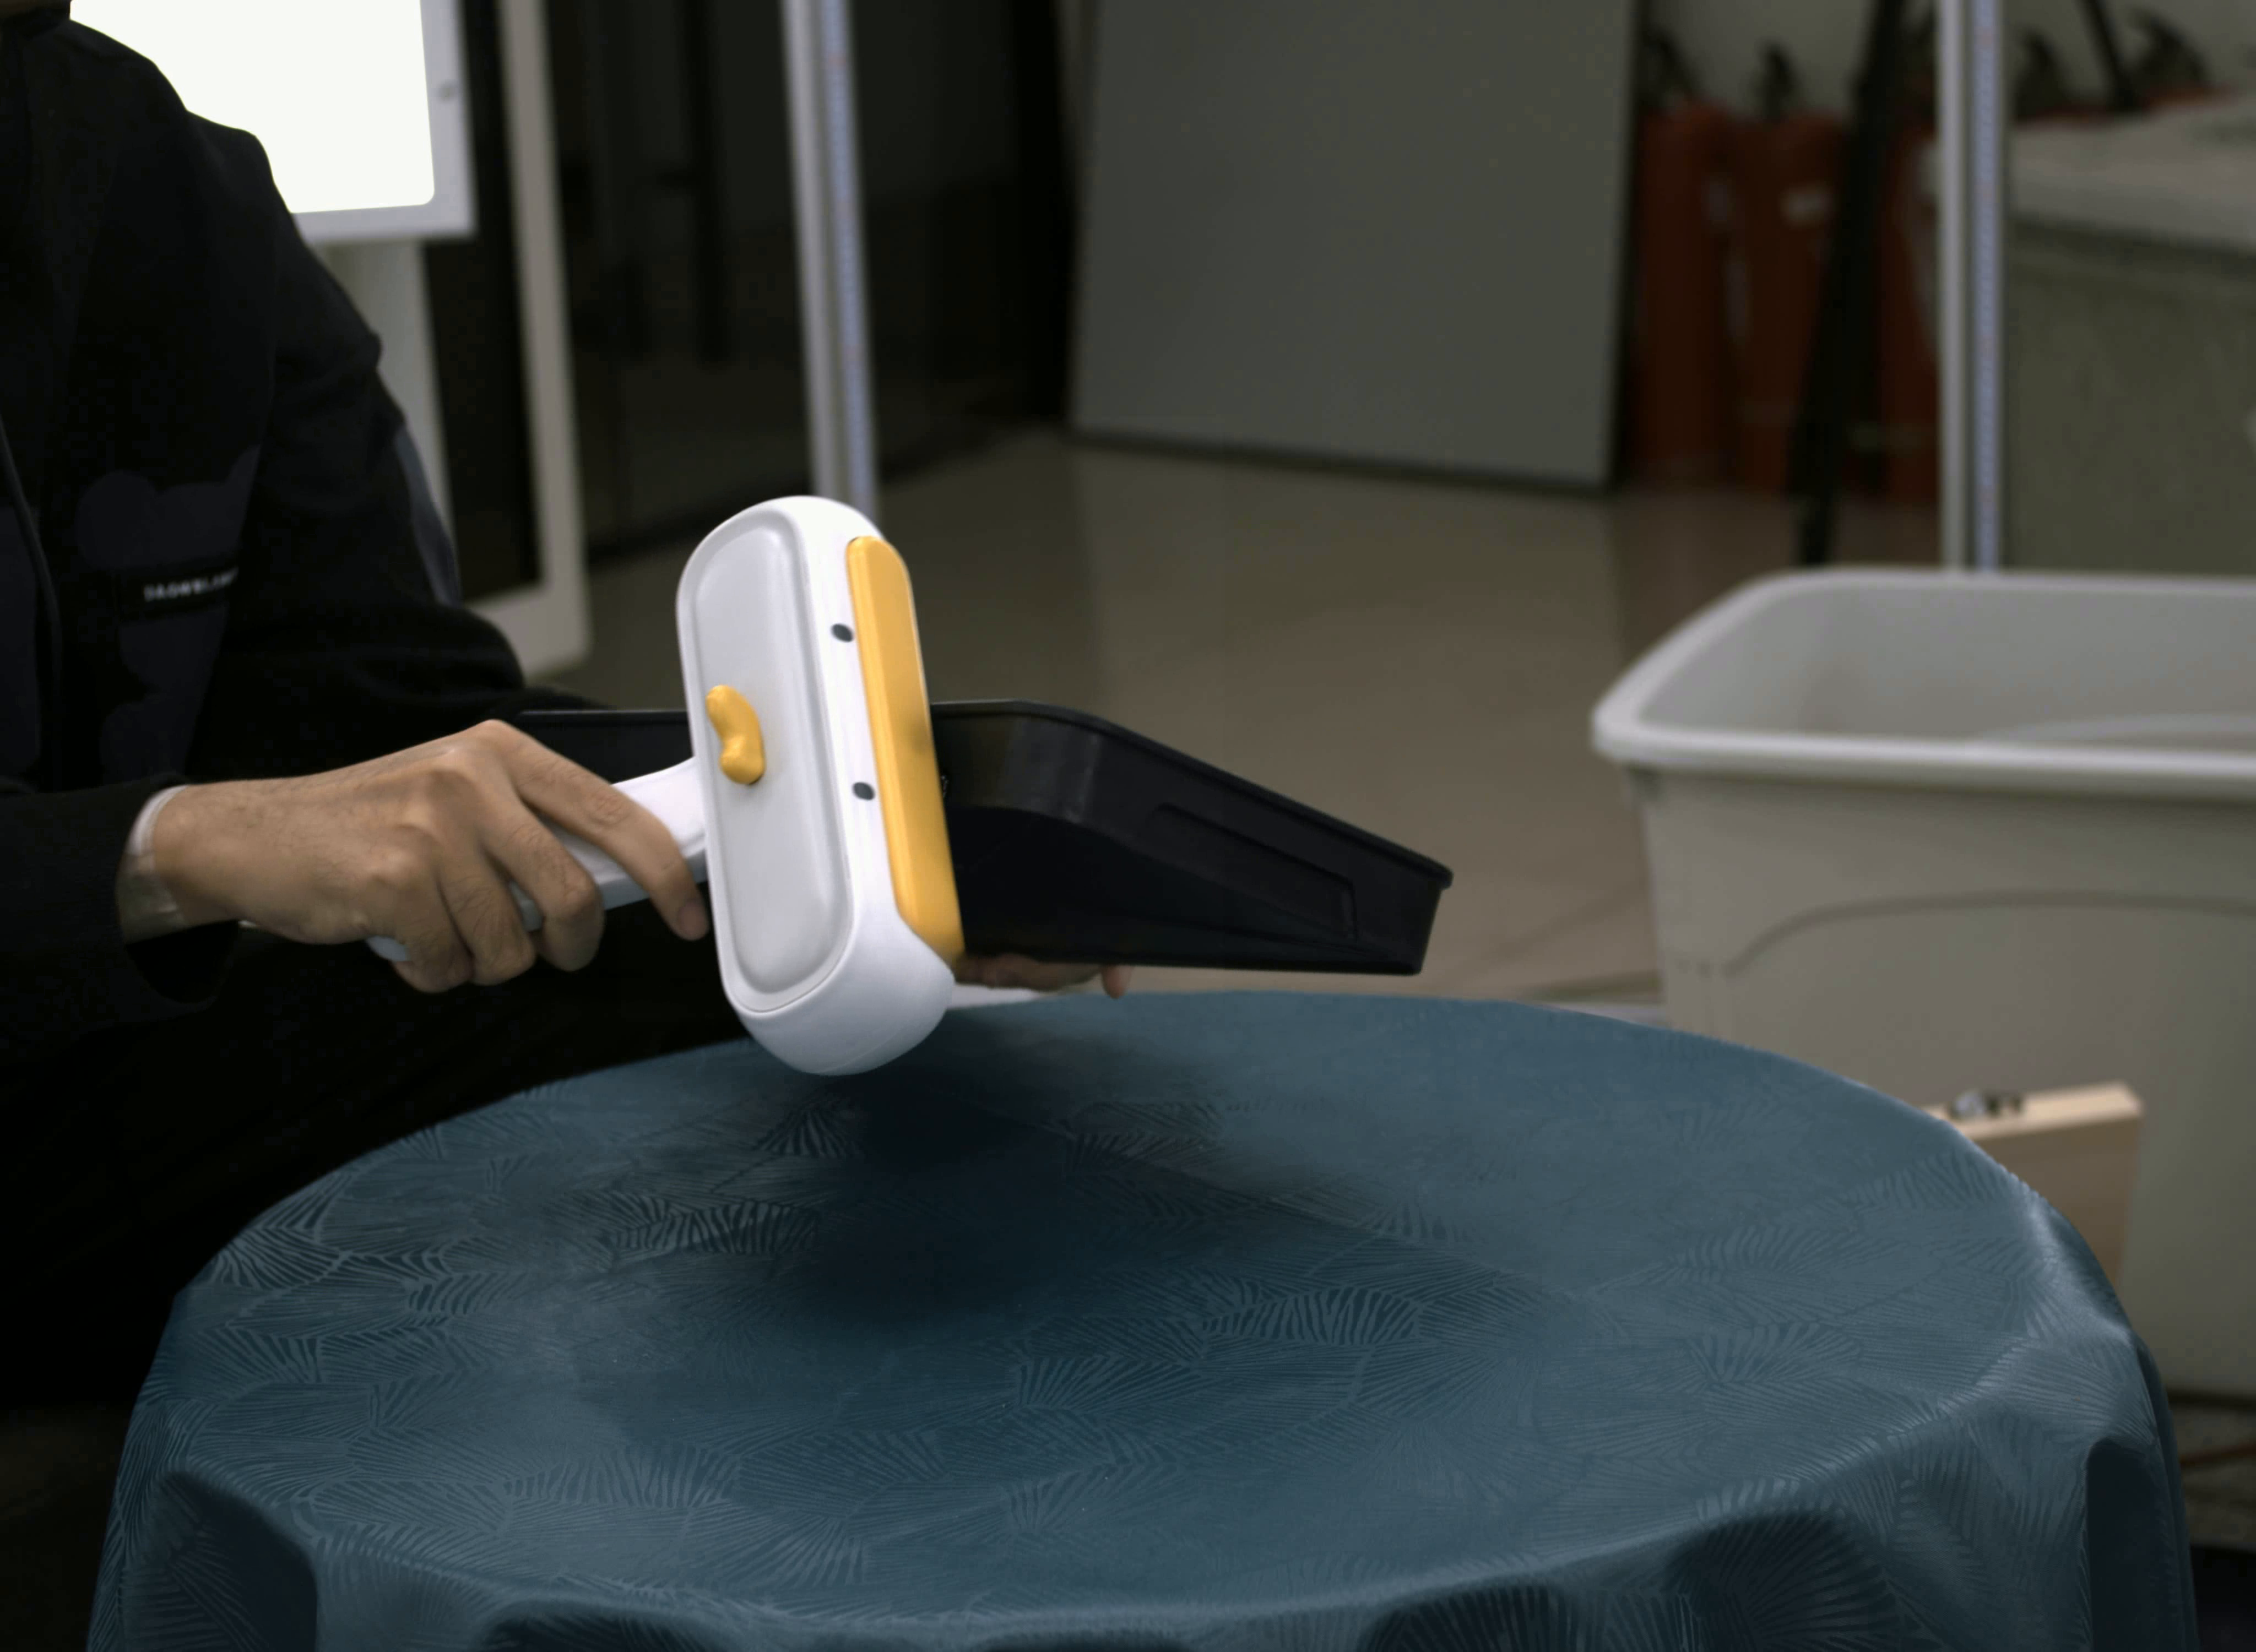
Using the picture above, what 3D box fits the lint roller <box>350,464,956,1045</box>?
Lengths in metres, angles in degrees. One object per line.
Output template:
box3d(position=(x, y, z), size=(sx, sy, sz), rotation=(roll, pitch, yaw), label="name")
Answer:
box3d(position=(-0.150, 0.000, 1.668), size=(0.193, 0.195, 0.073), rotation=(-28, -32, 21), label="lint roller")

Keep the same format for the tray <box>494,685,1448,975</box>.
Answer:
box3d(position=(-0.058, 0.004, 1.786), size=(0.180, 0.037, 0.321), rotation=(24, -15, -37), label="tray")
